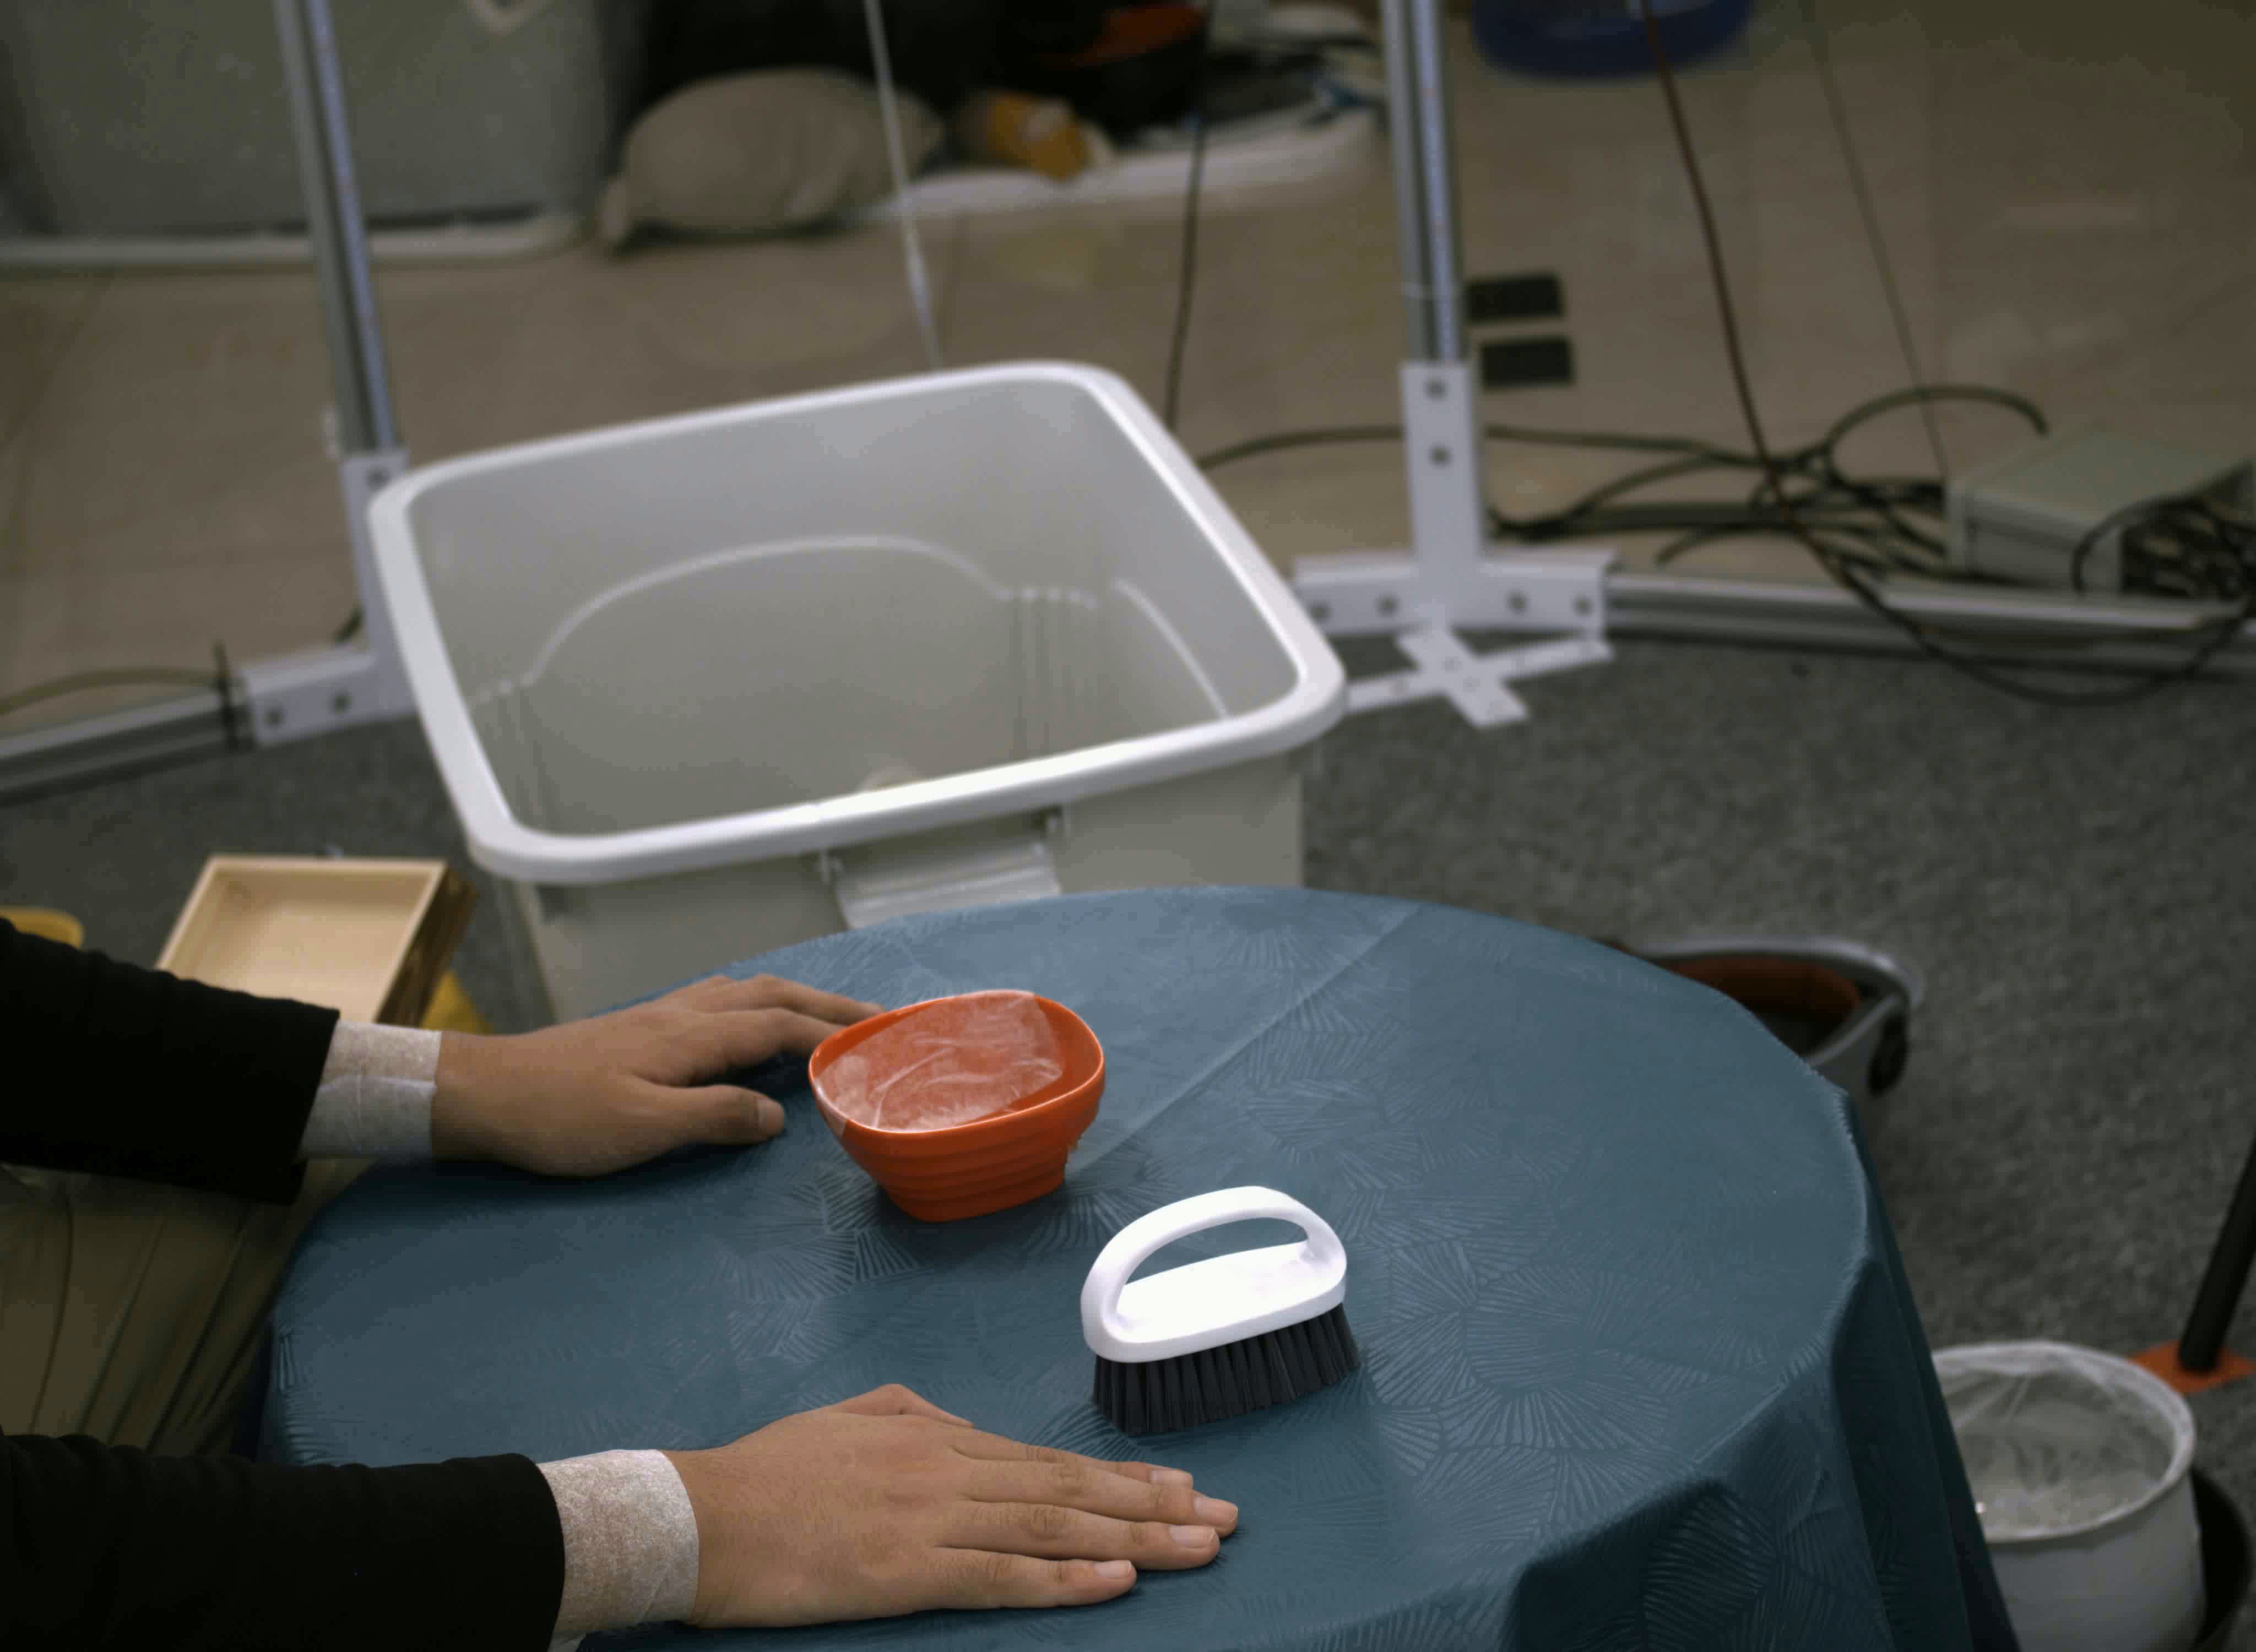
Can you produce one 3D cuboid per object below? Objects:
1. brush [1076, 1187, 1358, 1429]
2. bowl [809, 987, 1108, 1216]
[{"bbox_3d":[0.029,0.164,1.998,0.099,0.073,0.049,-13,27,-14],"label":"brush"},{"bbox_3d":[-0.064,0.109,2.162,0.119,0.052,0.117,-1,26,1],"label":"bowl"}]
